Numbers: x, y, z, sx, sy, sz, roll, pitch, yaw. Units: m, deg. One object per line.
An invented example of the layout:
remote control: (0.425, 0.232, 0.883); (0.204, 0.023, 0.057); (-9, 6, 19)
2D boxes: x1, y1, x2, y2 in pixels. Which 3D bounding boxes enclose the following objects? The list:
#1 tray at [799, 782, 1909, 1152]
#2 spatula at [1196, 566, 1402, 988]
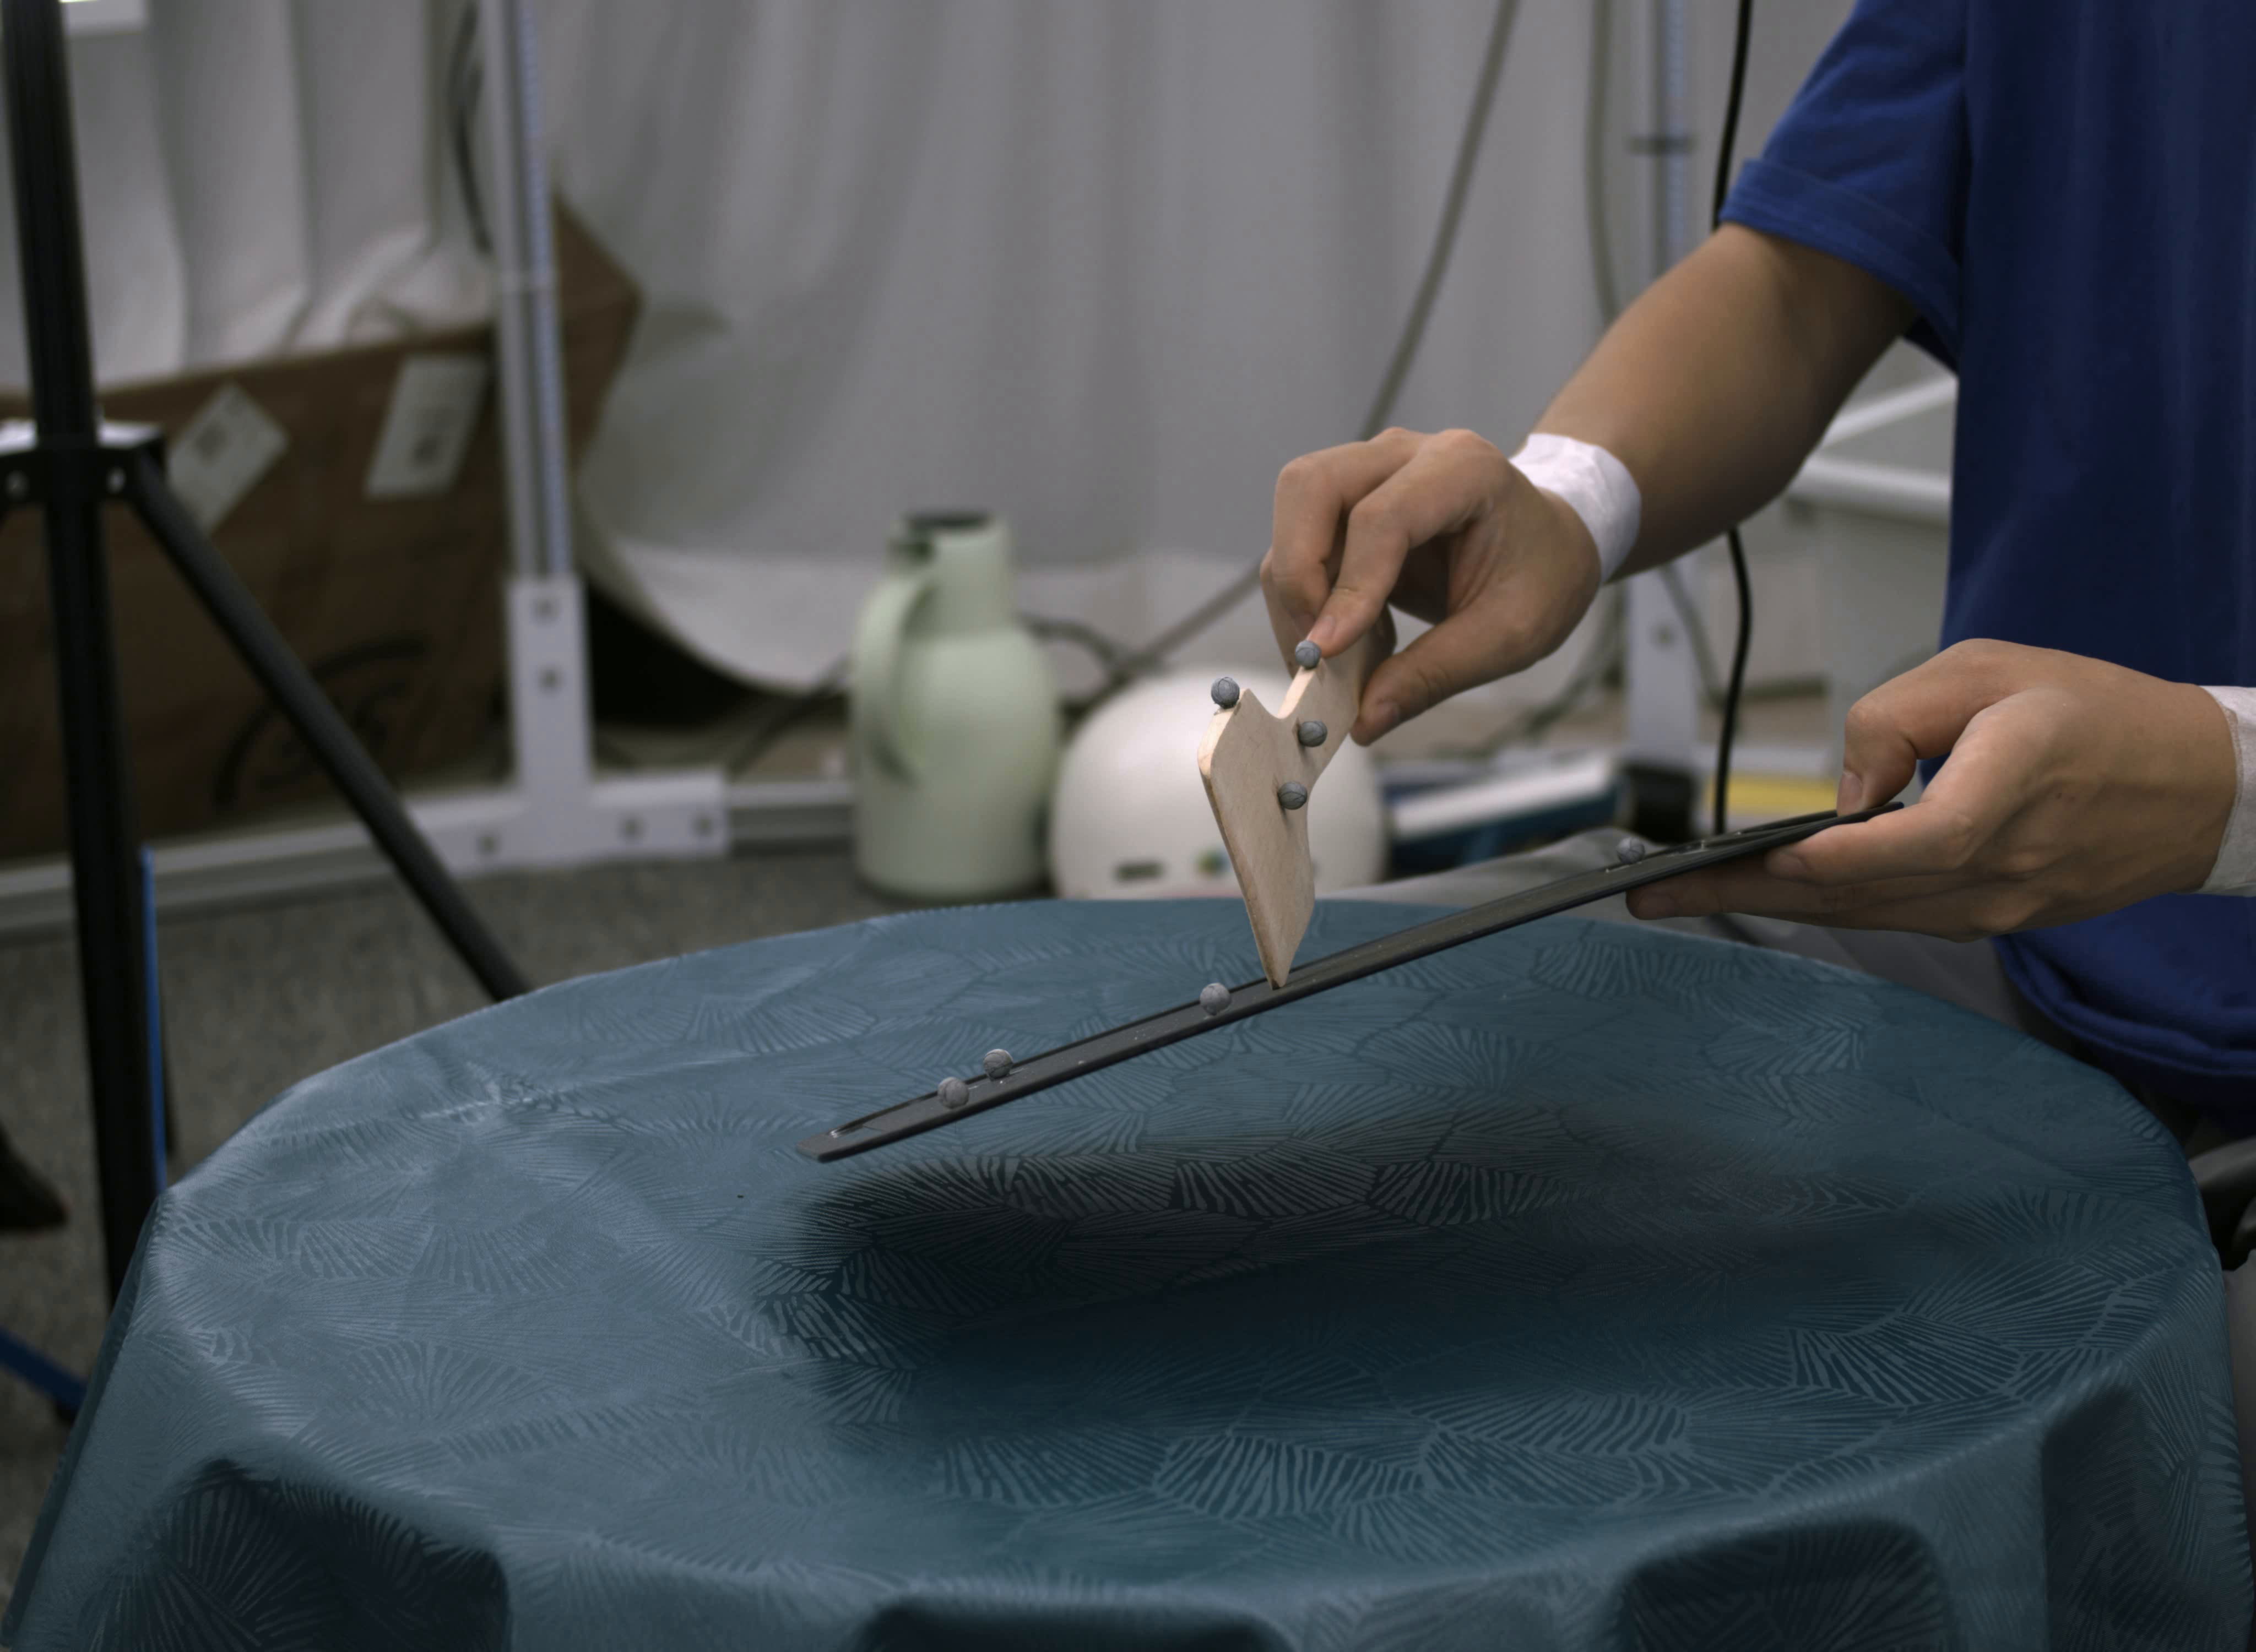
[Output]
tray: (0.063, 0.038, 1.497); (0.323, 0.010, 0.211); (-18, -1, -4)
spatula: (0.056, -0.030, 1.615); (0.011, 0.072, 0.292); (-16, 14, 16)
